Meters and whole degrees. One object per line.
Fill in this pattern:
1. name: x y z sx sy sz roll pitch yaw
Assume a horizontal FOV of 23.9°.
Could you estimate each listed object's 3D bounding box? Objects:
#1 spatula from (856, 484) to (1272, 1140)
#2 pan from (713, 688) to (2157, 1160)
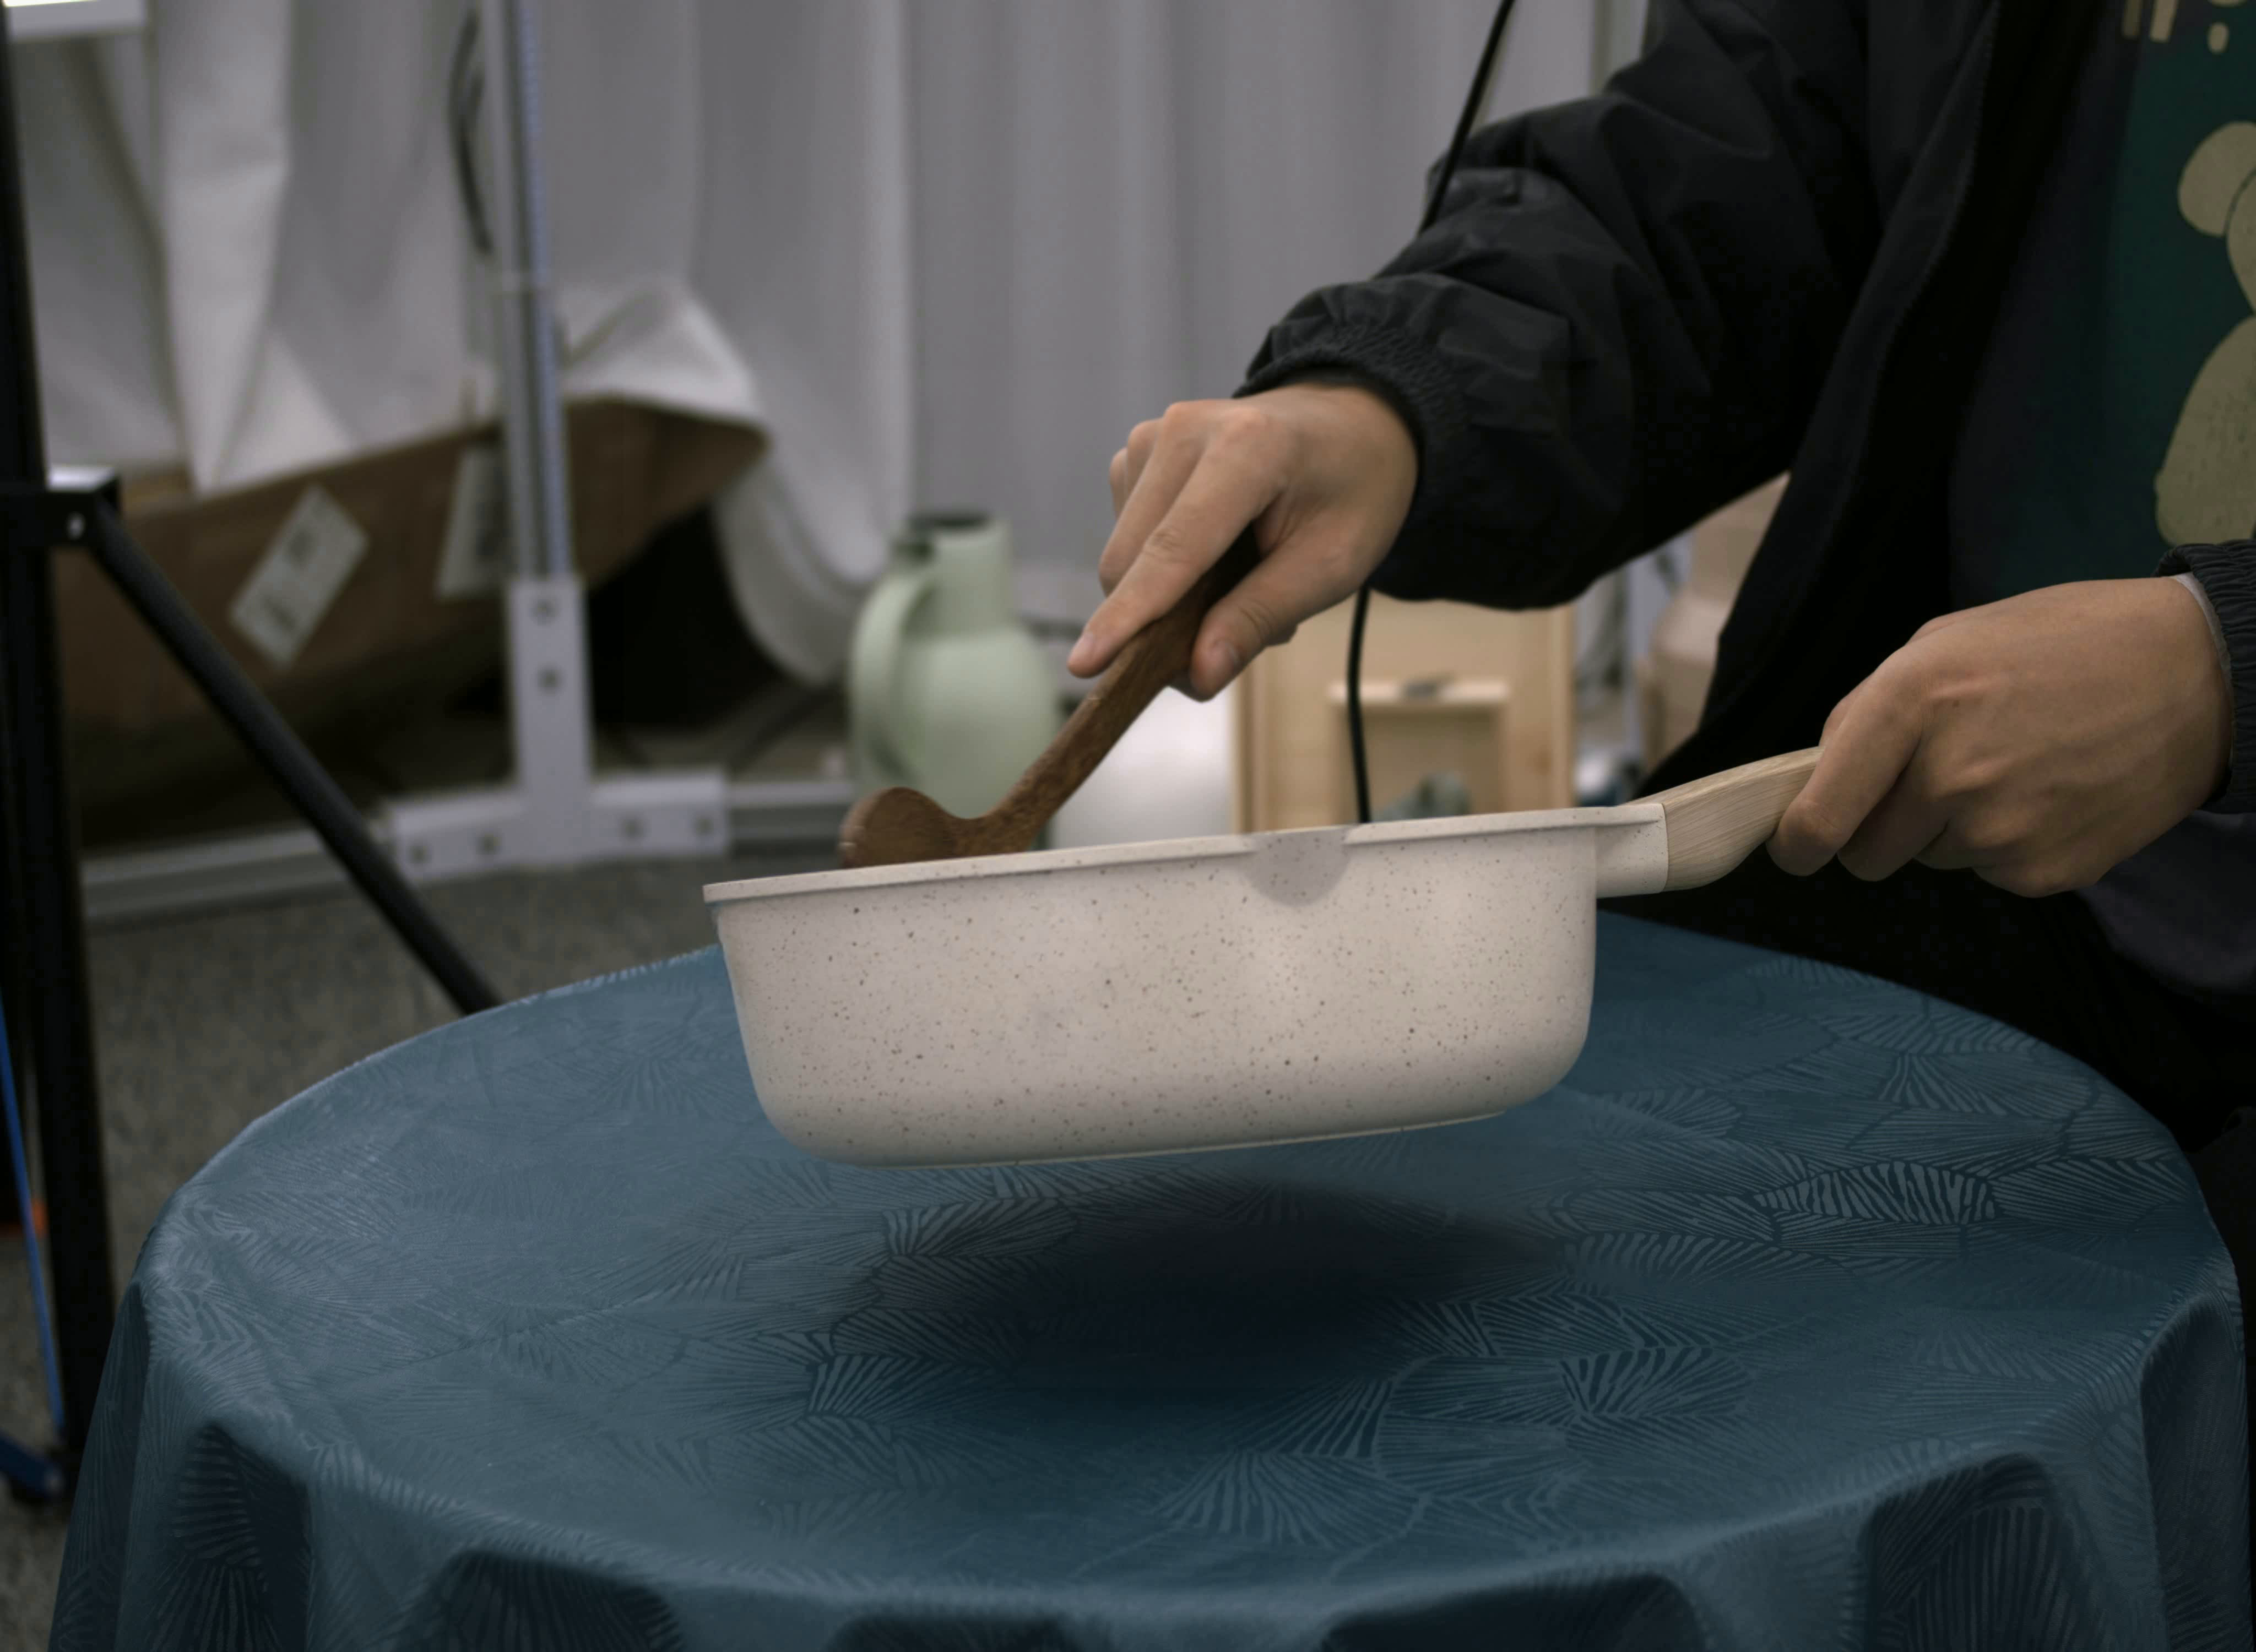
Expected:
1. spatula: -0.011 -0.027 1.597 0.016 0.095 0.383 -10 21 23
2. pan: 0.100 0.029 1.485 0.428 0.102 0.266 -5 -3 -16
